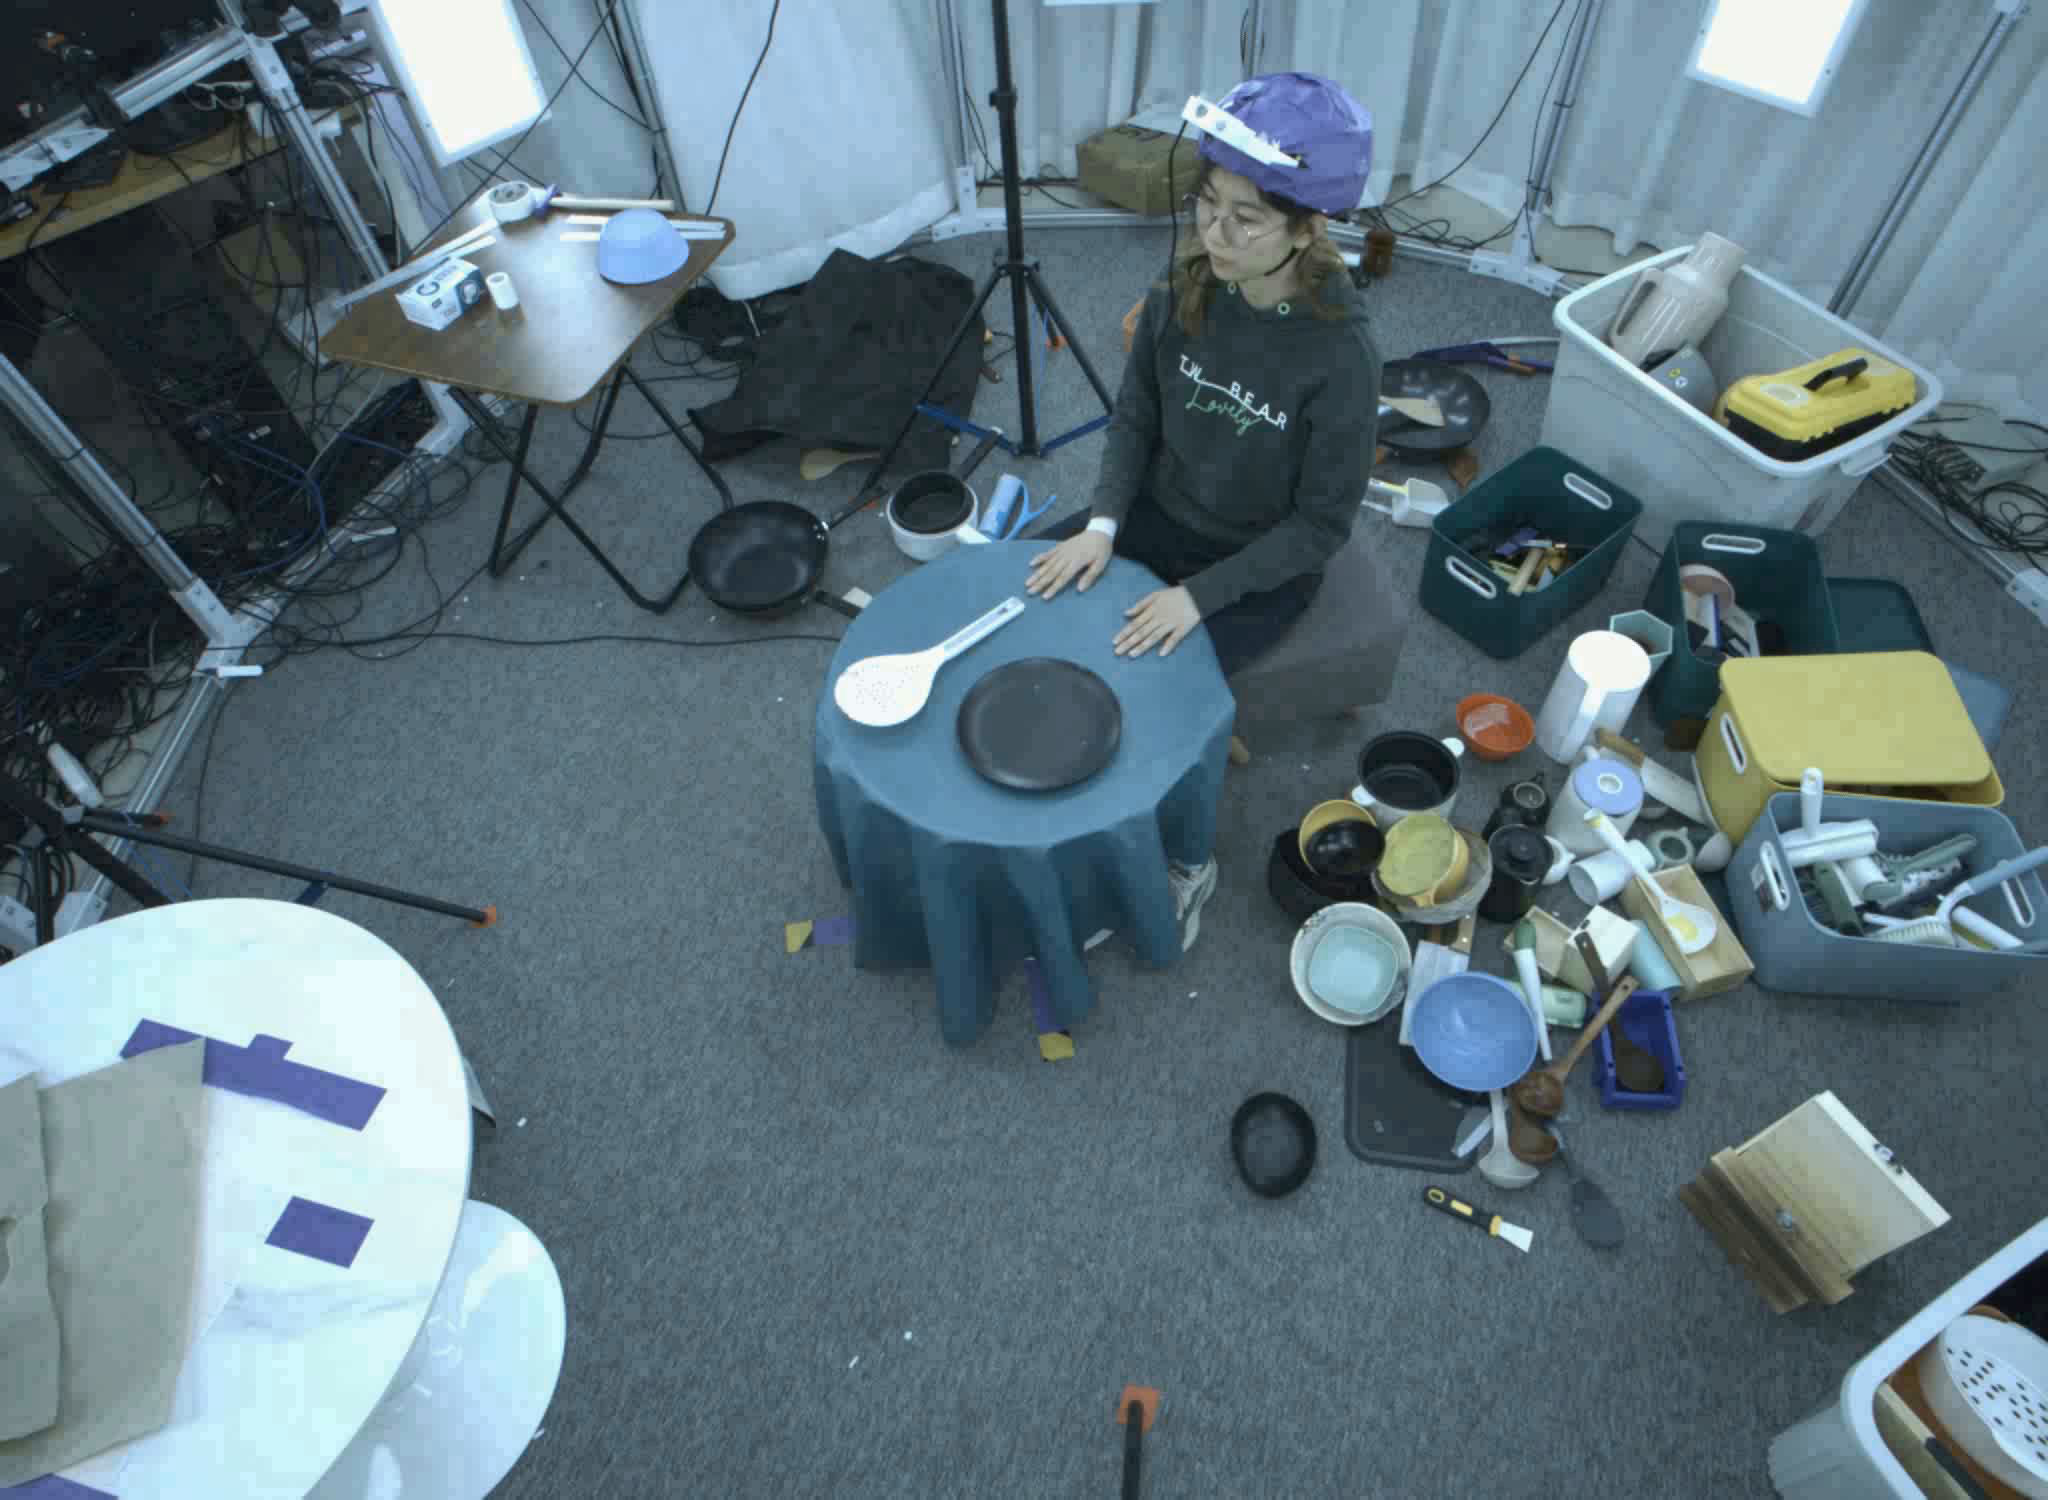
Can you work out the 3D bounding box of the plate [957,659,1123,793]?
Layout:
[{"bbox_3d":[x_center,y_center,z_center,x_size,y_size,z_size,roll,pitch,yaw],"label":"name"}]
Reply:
[{"bbox_3d":[0.024,-0.033,1.806,0.244,0.023,0.242,0,55,2],"label":"plate"}]

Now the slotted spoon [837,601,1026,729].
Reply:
[{"bbox_3d":[-0.131,-0.137,1.870,0.352,0.046,0.134,-38,64,-23],"label":"slotted spoon"}]
